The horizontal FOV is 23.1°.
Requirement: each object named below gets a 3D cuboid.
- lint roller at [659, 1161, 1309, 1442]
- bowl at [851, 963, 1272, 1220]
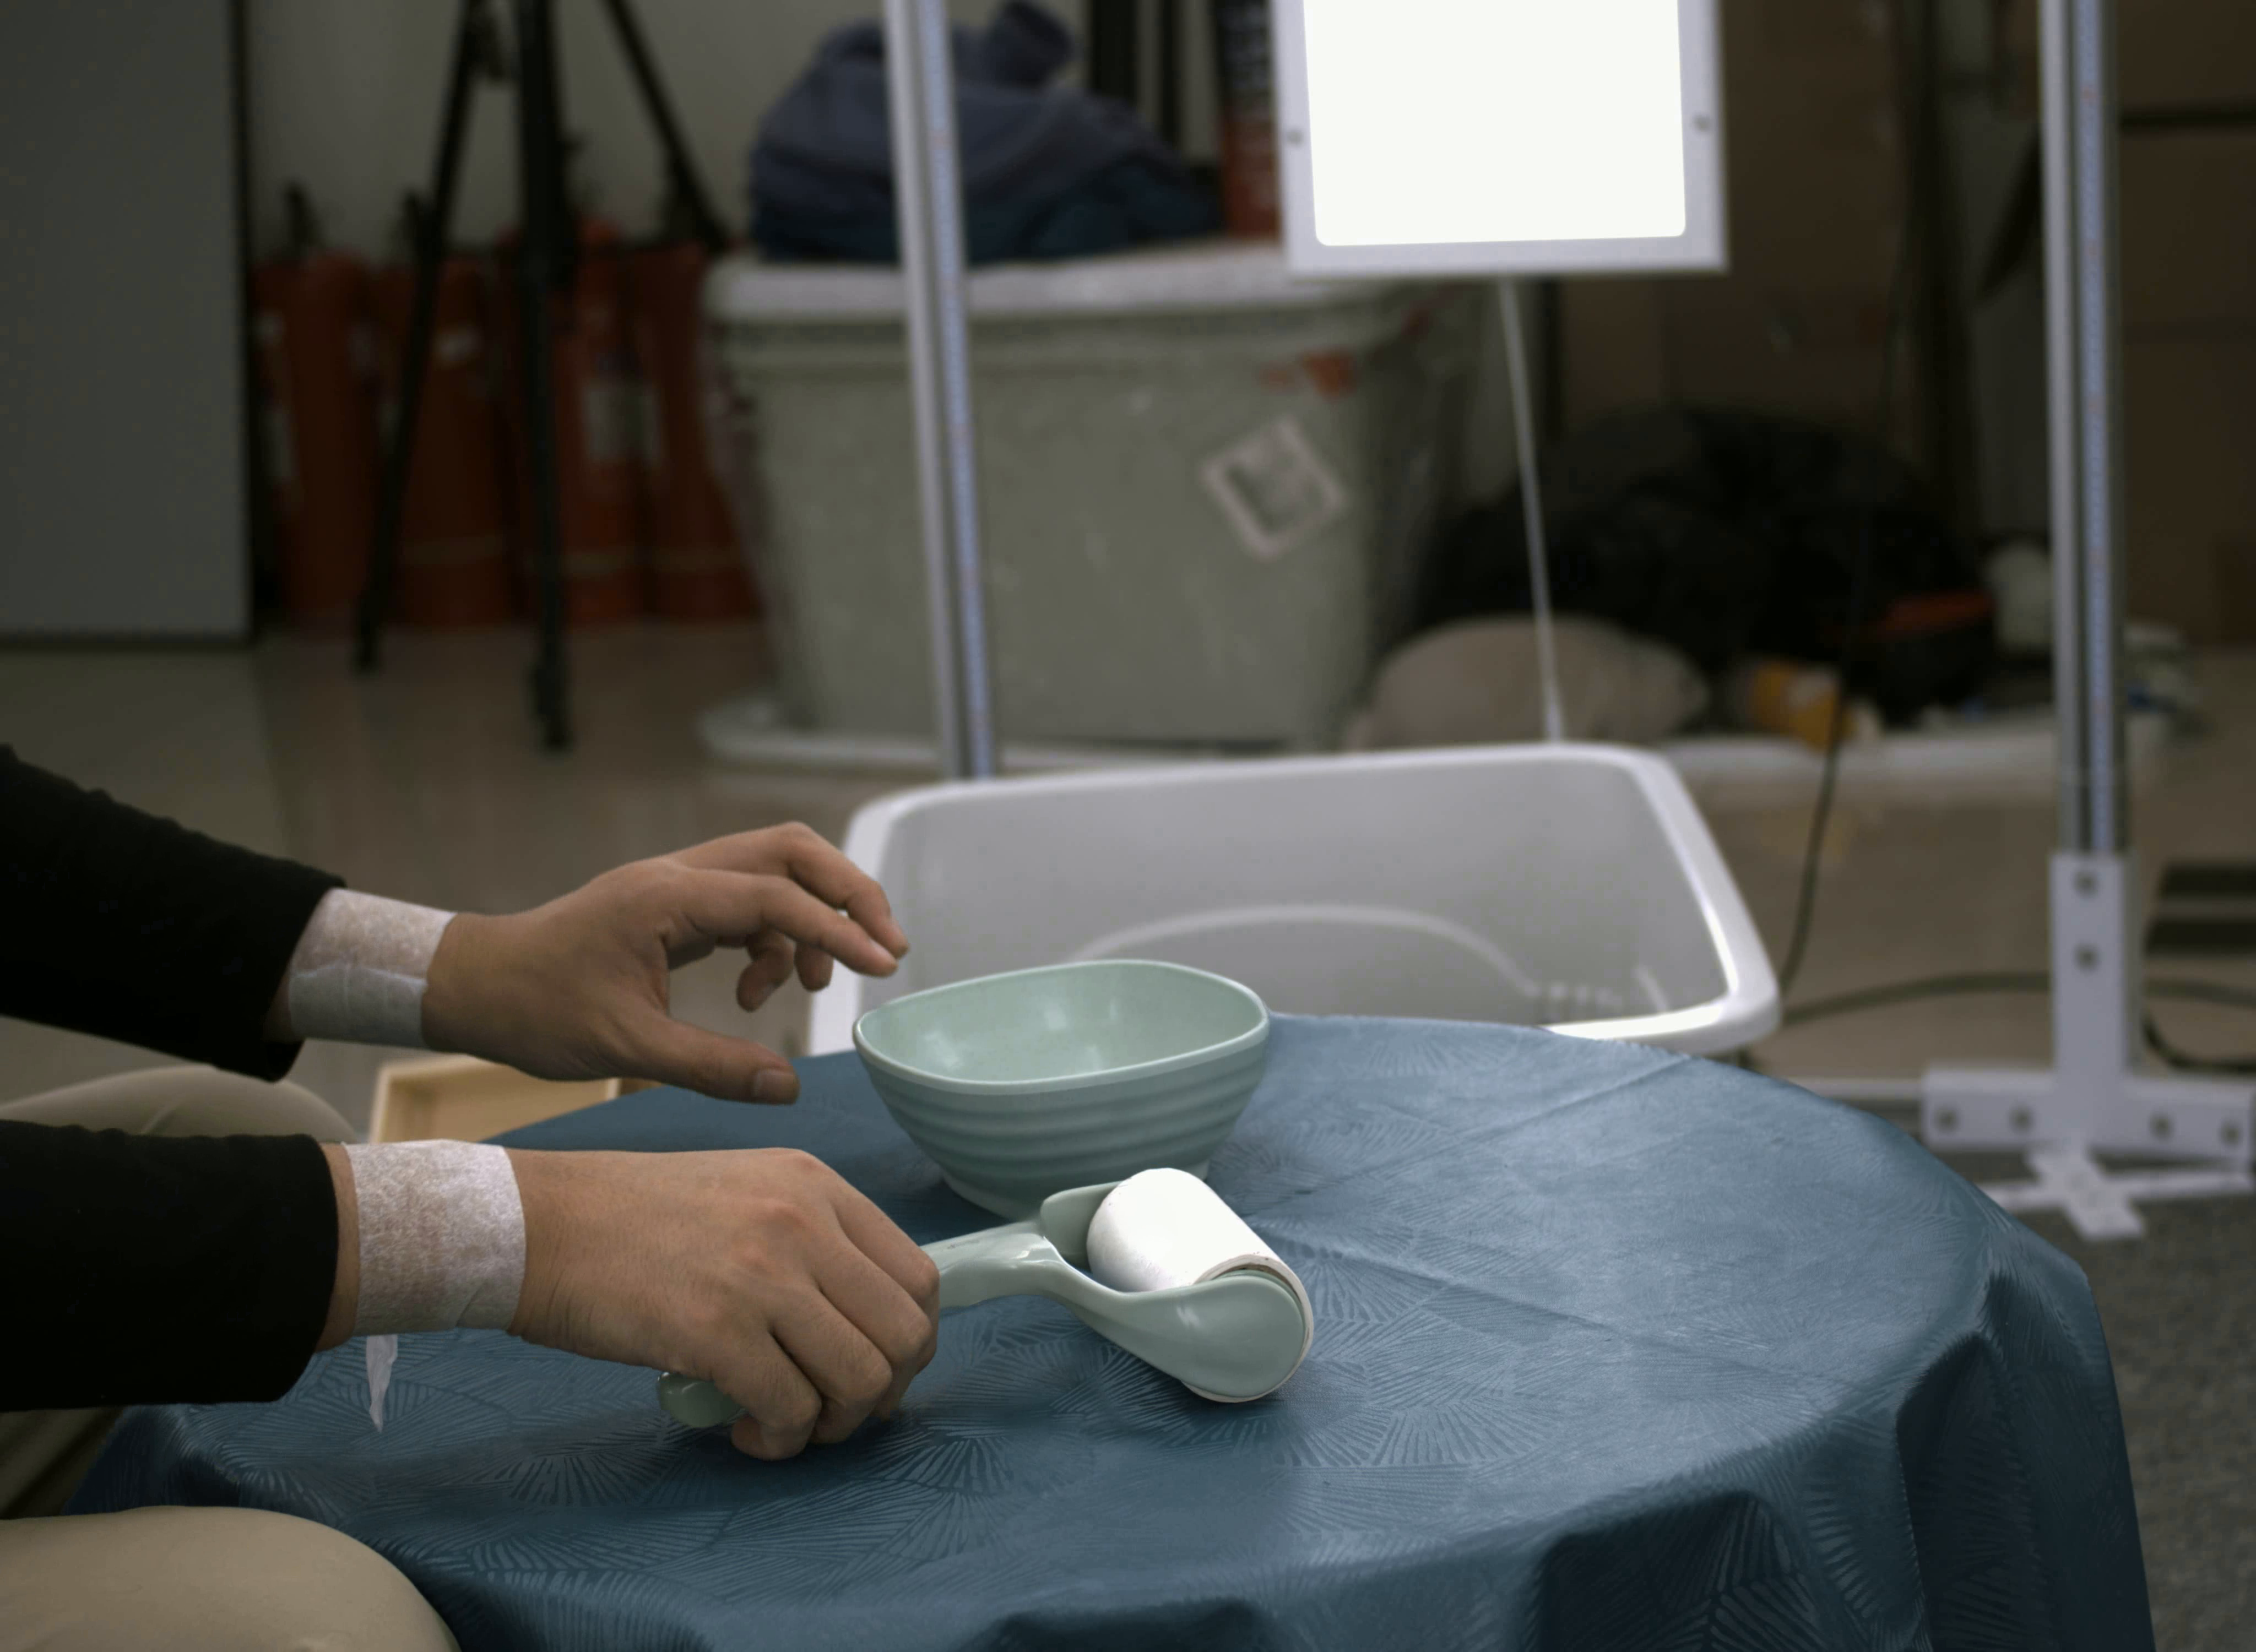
[{"bbox_3d":[-0.051,0.151,1.716,0.195,0.049,0.117,-8,16,-12],"label":"lint roller"},{"bbox_3d":[-0.022,0.095,1.916,0.151,0.059,0.151,-3,14,-1],"label":"bowl"}]
